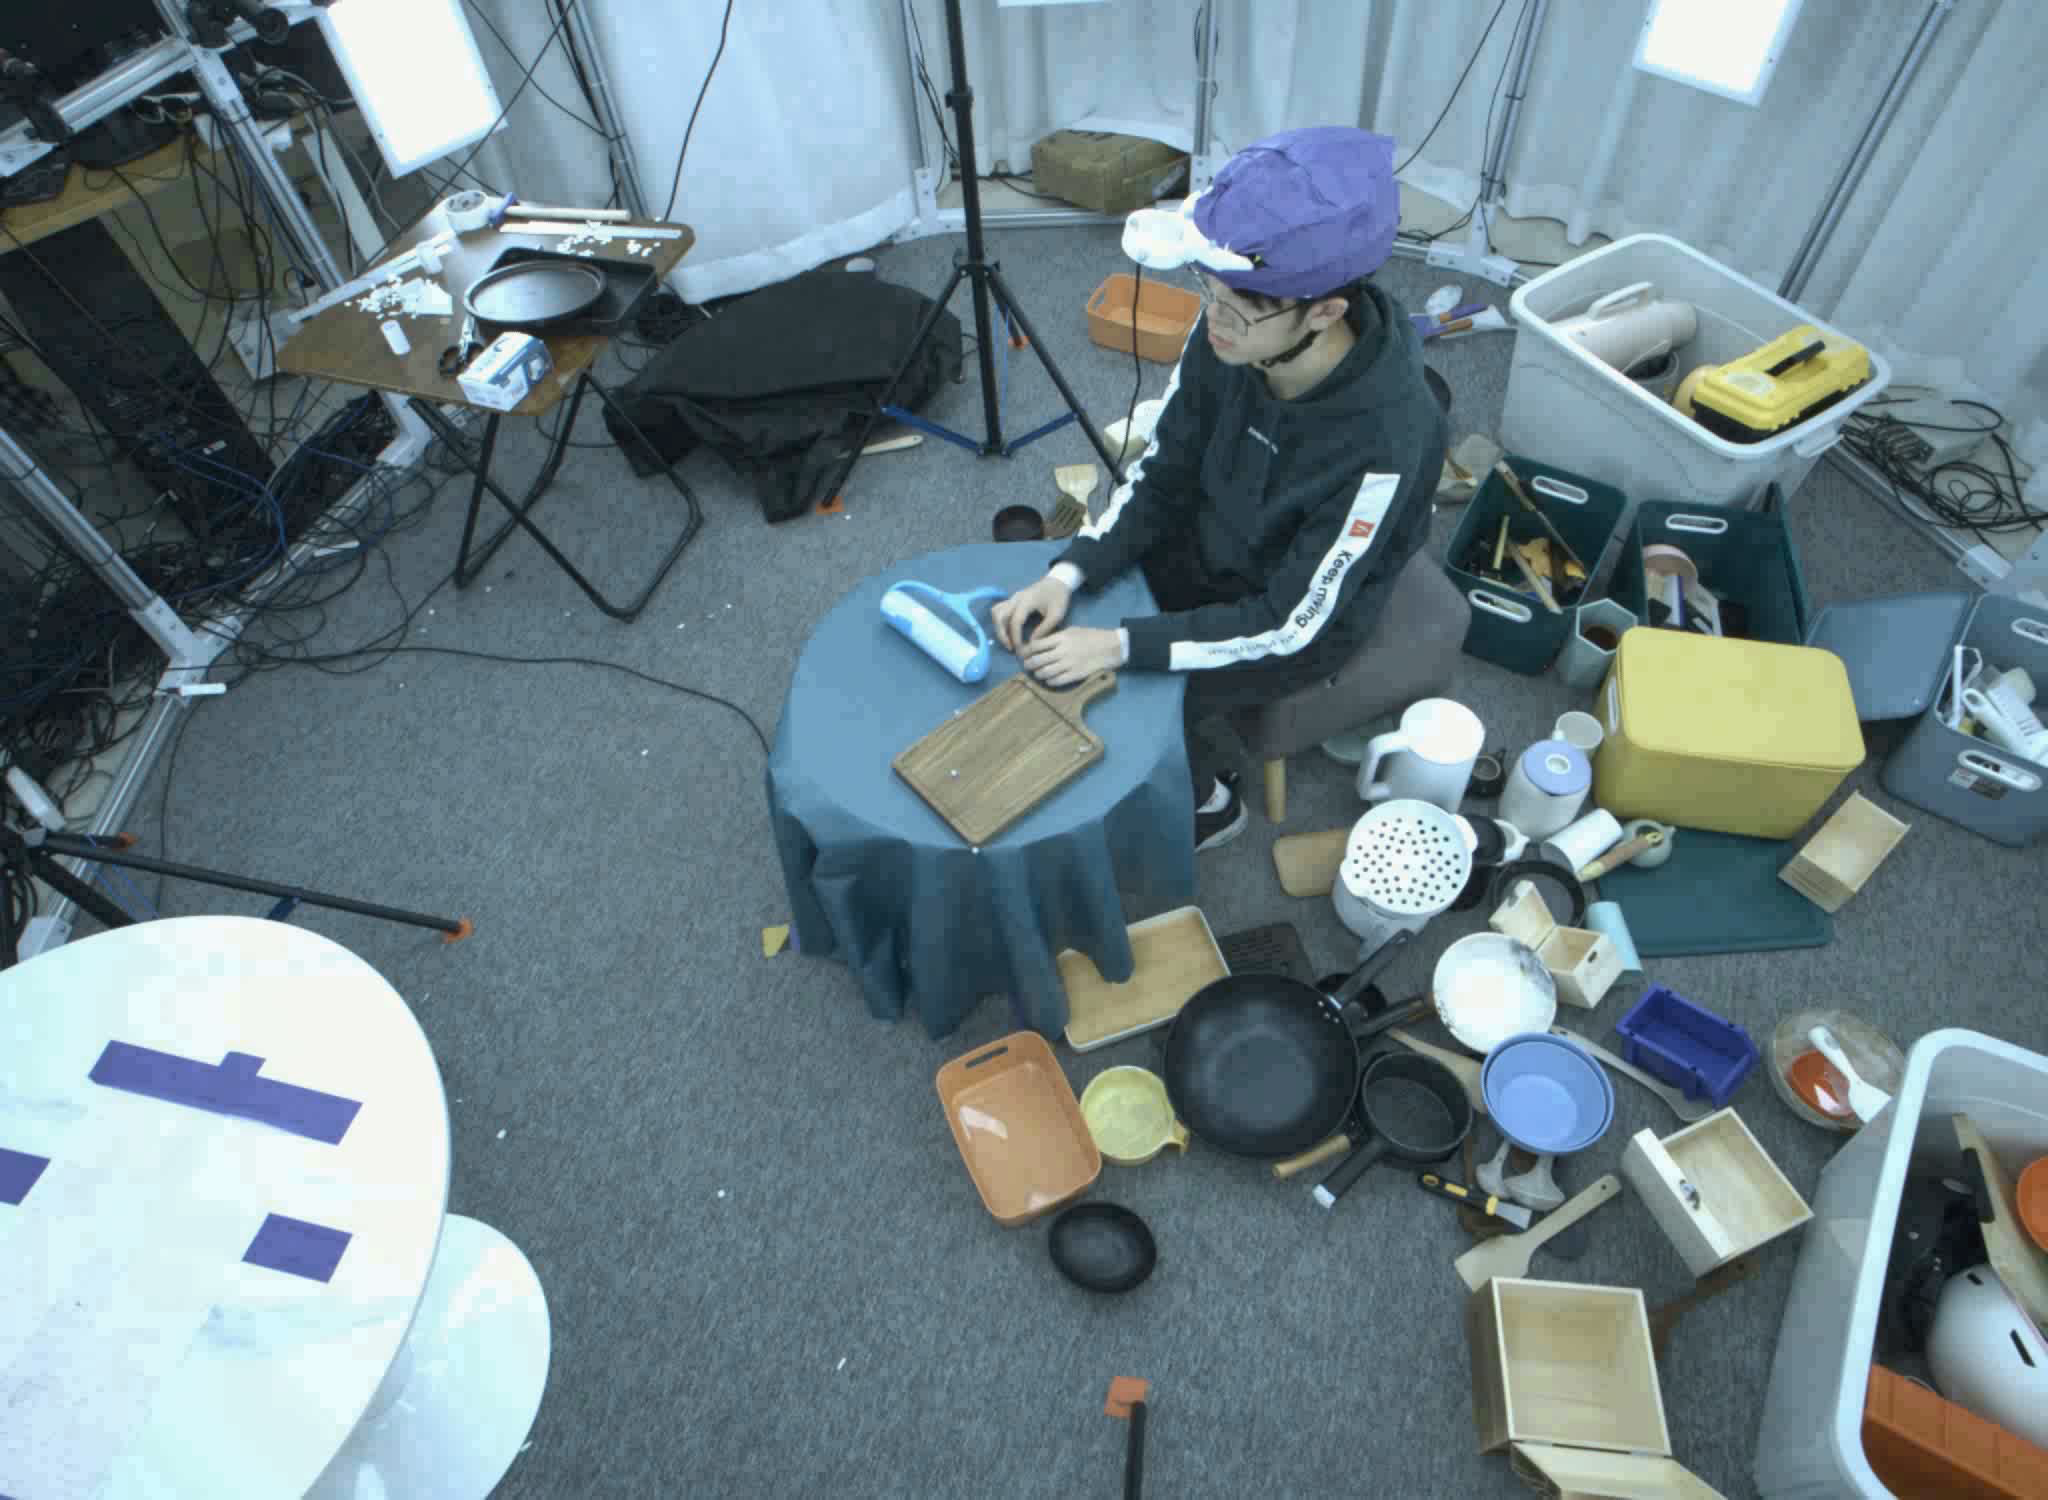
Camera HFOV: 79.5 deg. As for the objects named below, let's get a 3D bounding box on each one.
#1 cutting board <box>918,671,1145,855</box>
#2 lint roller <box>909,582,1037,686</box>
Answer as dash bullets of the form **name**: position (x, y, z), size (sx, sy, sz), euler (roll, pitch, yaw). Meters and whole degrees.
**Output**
- **cutting board**: position (0.041, -0.012, 1.776), size (0.355, 0.023, 0.197), euler (-35, 61, -21)
- **lint roller**: position (-0.054, -0.209, 1.898), size (0.224, 0.069, 0.181), euler (37, 64, 26)
